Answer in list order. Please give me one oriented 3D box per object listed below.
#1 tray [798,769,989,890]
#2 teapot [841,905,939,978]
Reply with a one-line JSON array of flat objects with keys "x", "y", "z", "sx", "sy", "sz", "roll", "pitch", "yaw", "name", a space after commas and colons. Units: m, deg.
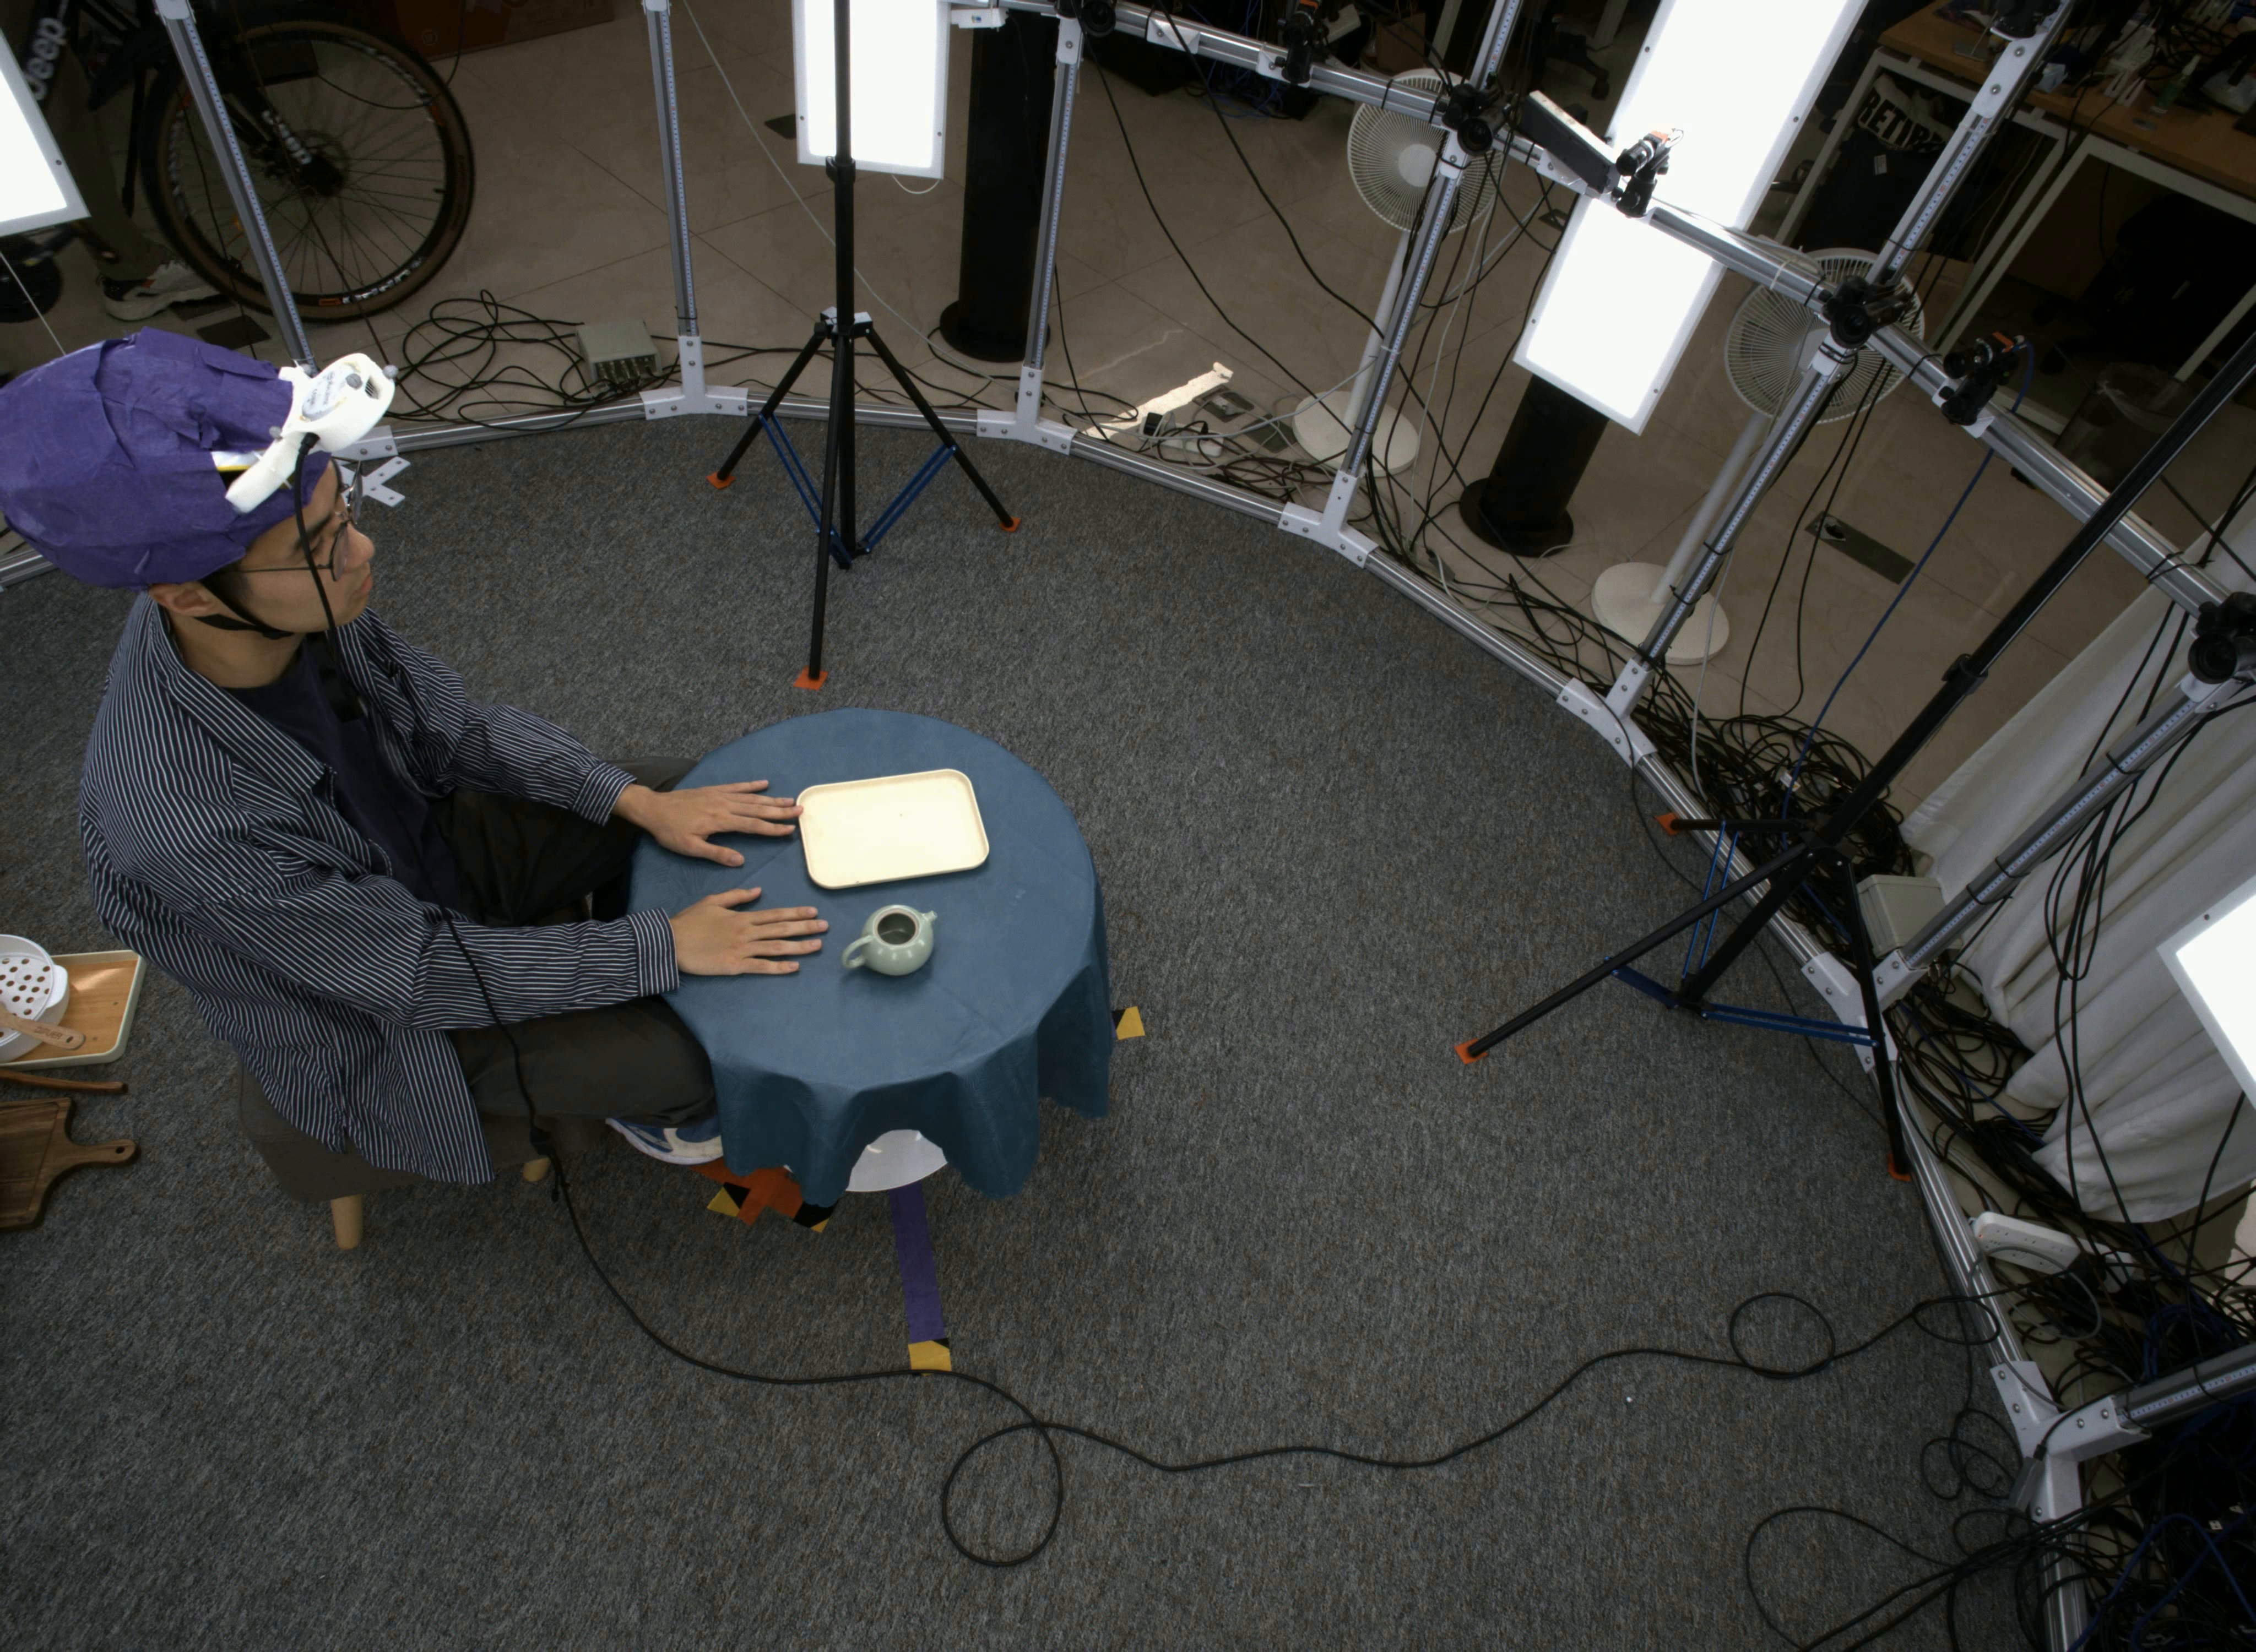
[{"x": -0.316, "y": 0.004, "z": 1.753, "sx": 0.240, "sy": 0.018, "sz": 0.167, "roll": -8, "pitch": 56, "yaw": -18, "name": "tray"}, {"x": -0.297, "y": 0.146, "z": 1.626, "sx": 0.129, "sy": 0.062, "sz": 0.089, "roll": -17, "pitch": 61, "yaw": -23, "name": "teapot"}]
